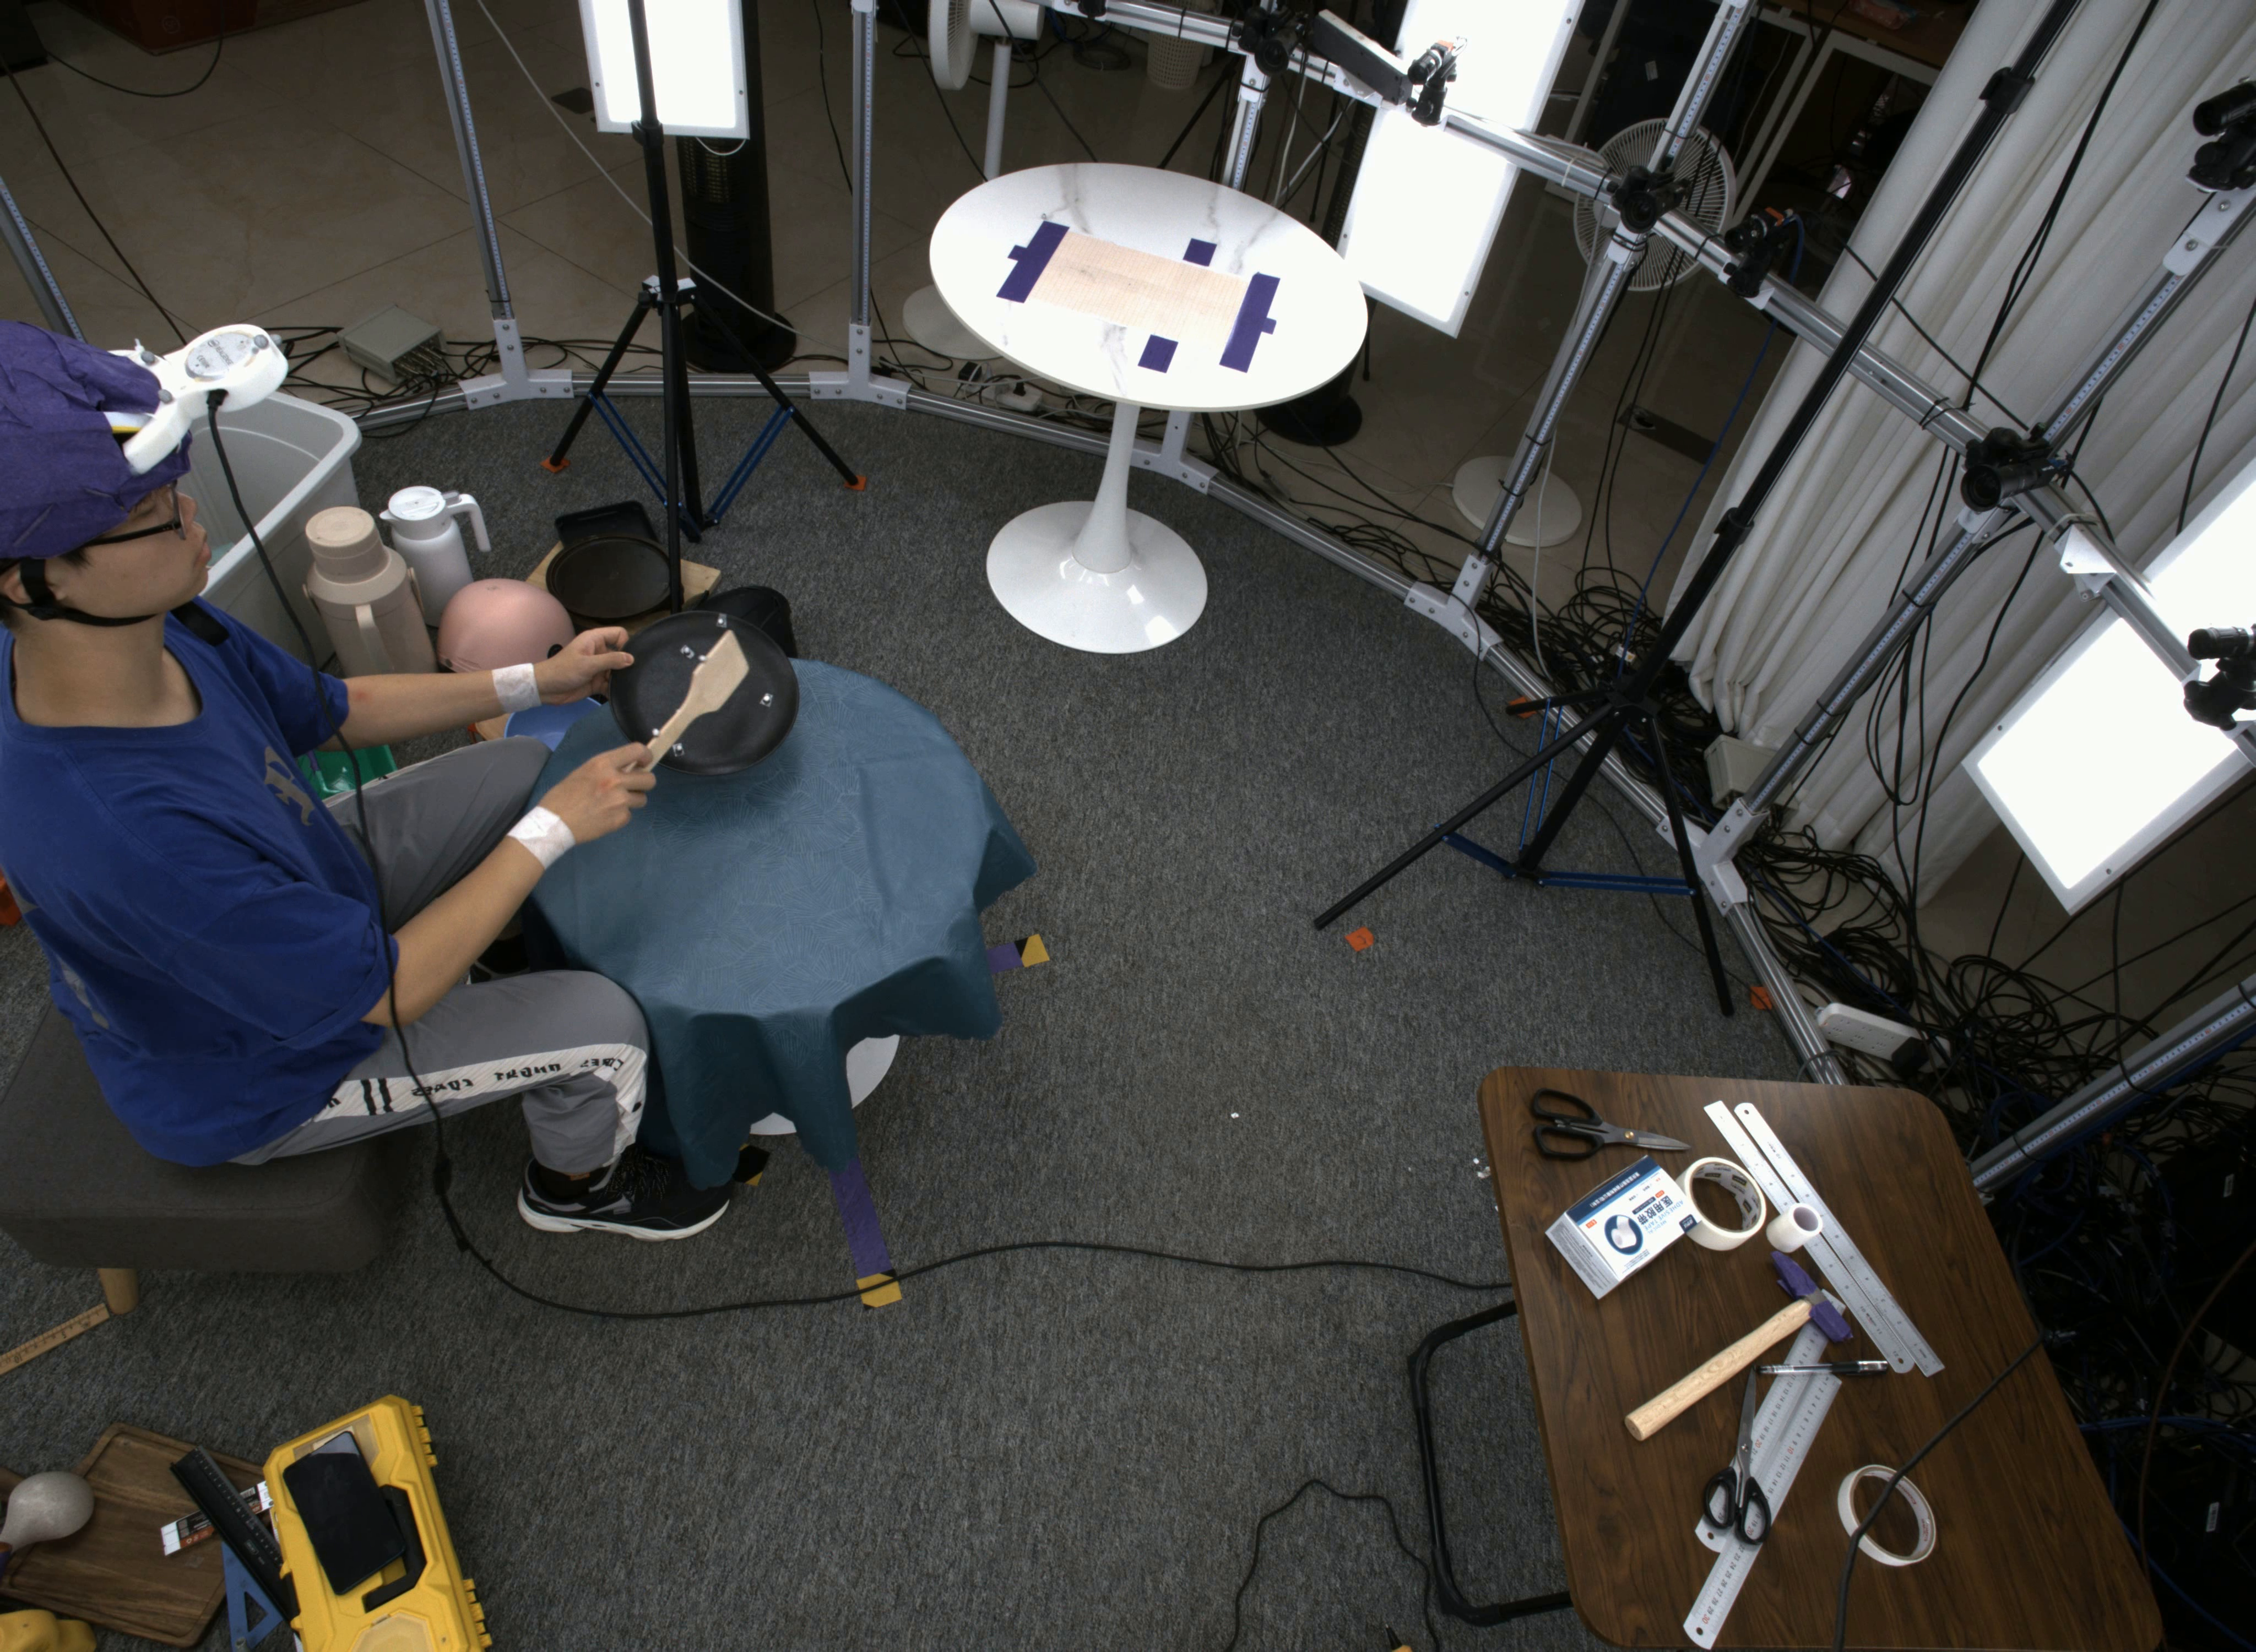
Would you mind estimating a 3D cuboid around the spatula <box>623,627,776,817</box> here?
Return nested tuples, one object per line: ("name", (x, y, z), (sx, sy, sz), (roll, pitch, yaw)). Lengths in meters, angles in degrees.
("spatula", (-0.523, -0.124, 1.569), (0.010, 0.074, 0.292), (19, 57, 20))

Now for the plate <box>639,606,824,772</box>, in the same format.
("plate", (-0.529, -0.181, 1.719), (0.246, 0.023, 0.242), (8, 68, -19))
